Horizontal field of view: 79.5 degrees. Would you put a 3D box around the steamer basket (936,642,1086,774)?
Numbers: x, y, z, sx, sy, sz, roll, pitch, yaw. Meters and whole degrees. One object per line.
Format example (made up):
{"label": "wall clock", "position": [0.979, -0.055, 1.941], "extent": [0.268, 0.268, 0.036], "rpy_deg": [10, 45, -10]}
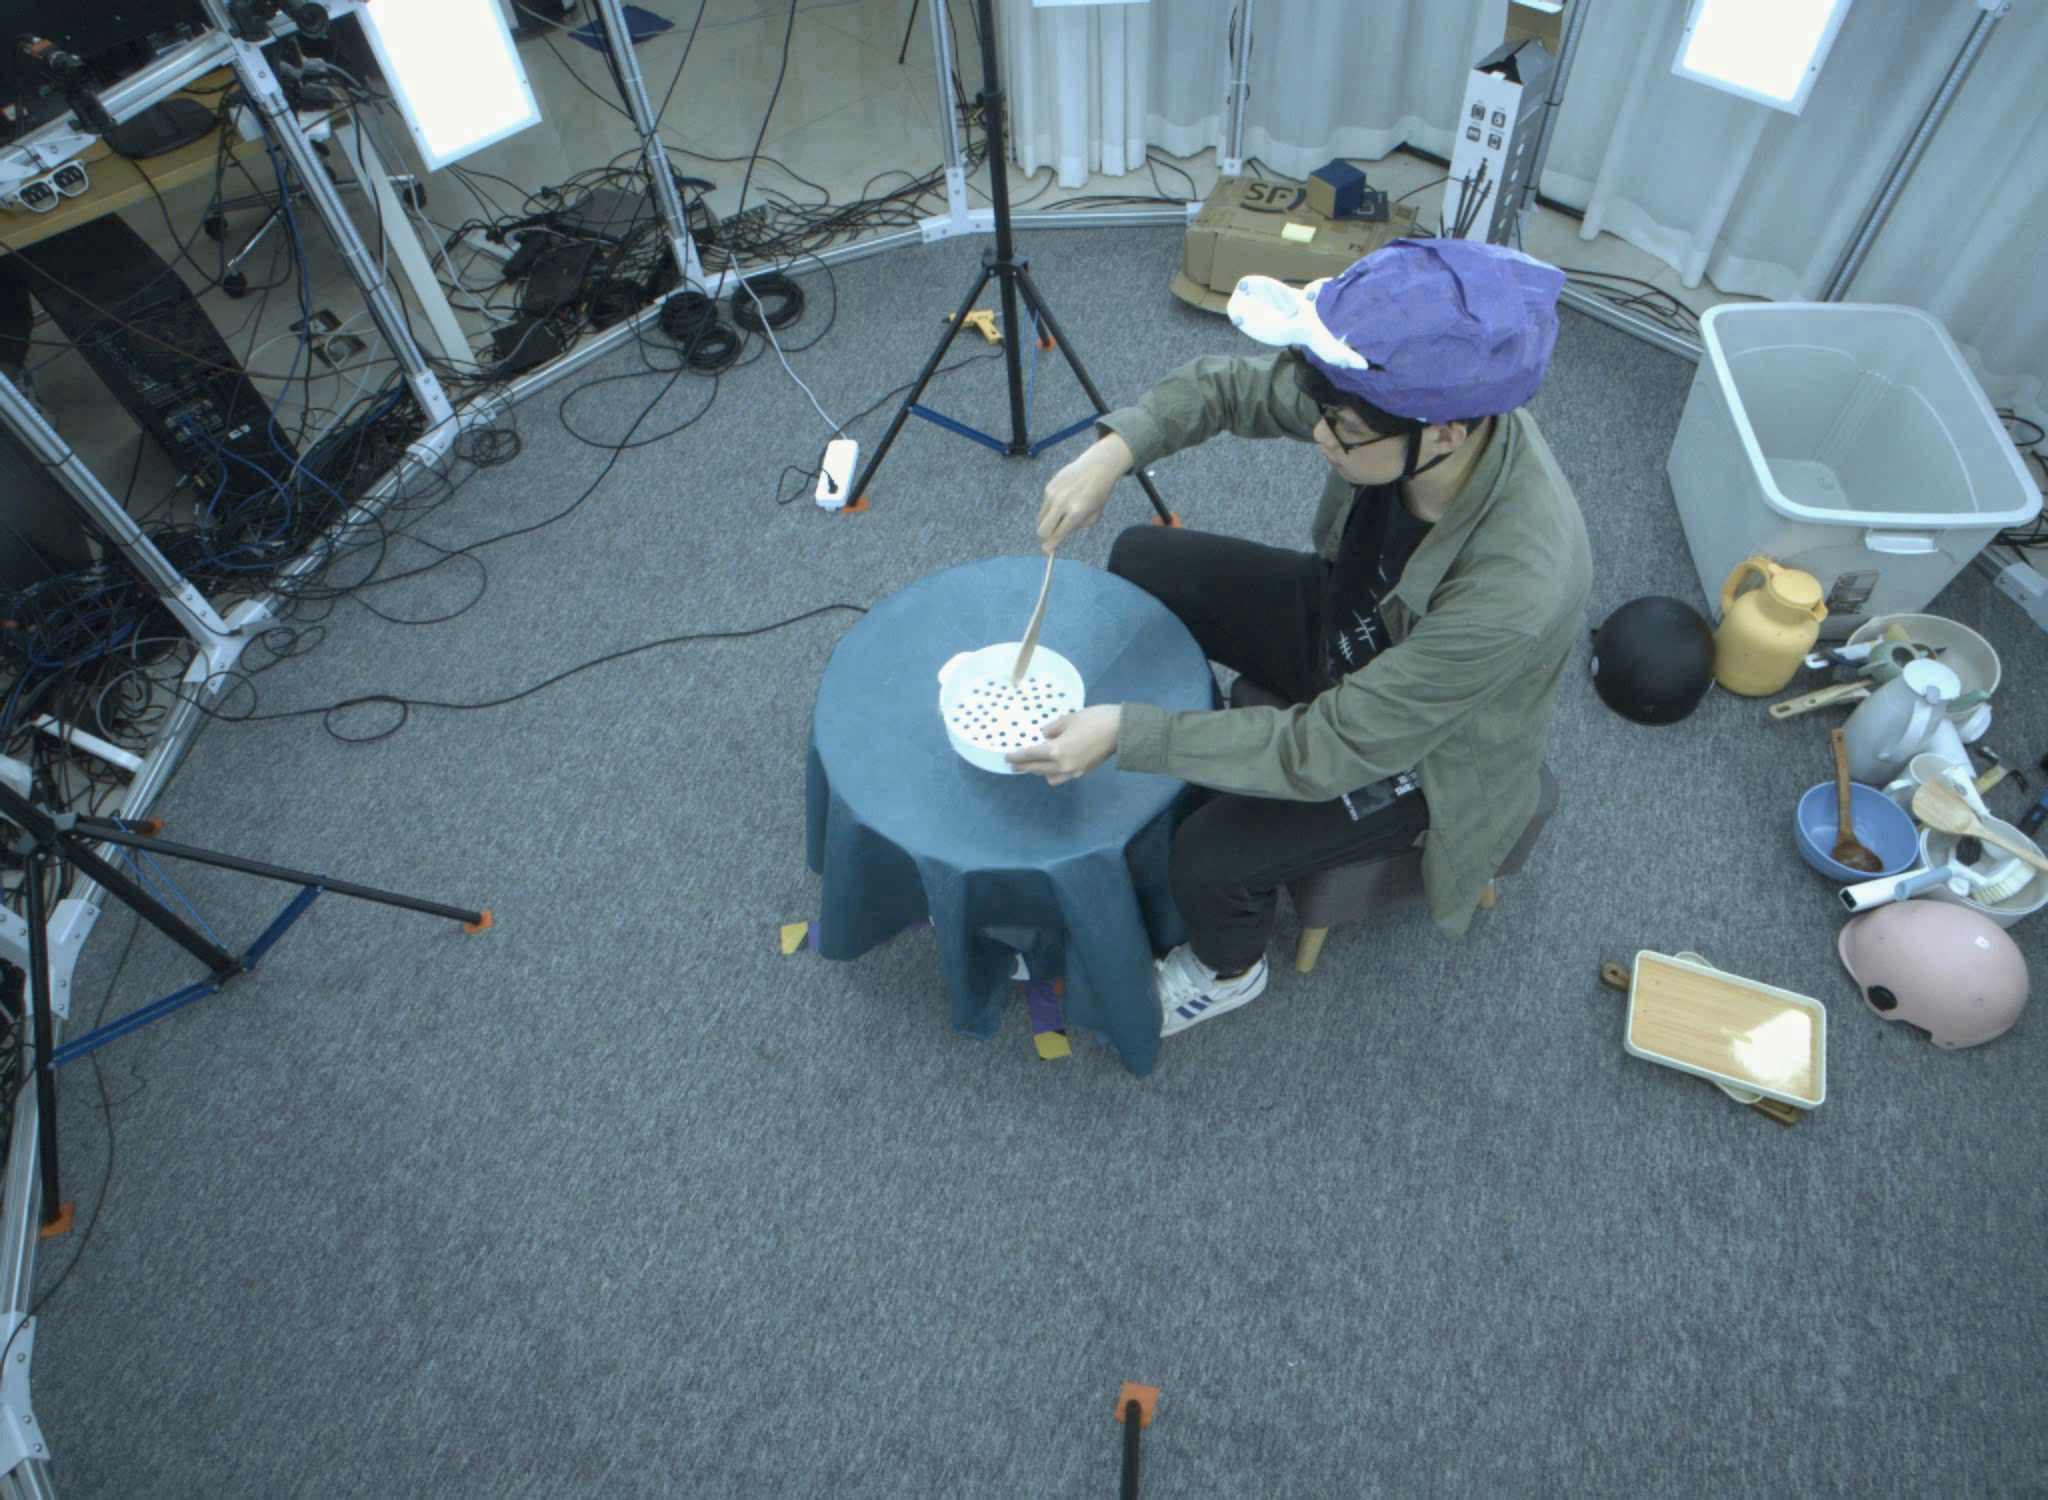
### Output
{"label": "steamer basket", "position": [-0.019, -0.057, 1.725], "extent": [0.227, 0.070, 0.203], "rpy_deg": [29, 58, 21]}

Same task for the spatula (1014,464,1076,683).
{"label": "spatula", "position": [0.030, -0.255, 1.722], "extent": [0.016, 0.080, 0.327], "rpy_deg": [12, 79, 8]}
